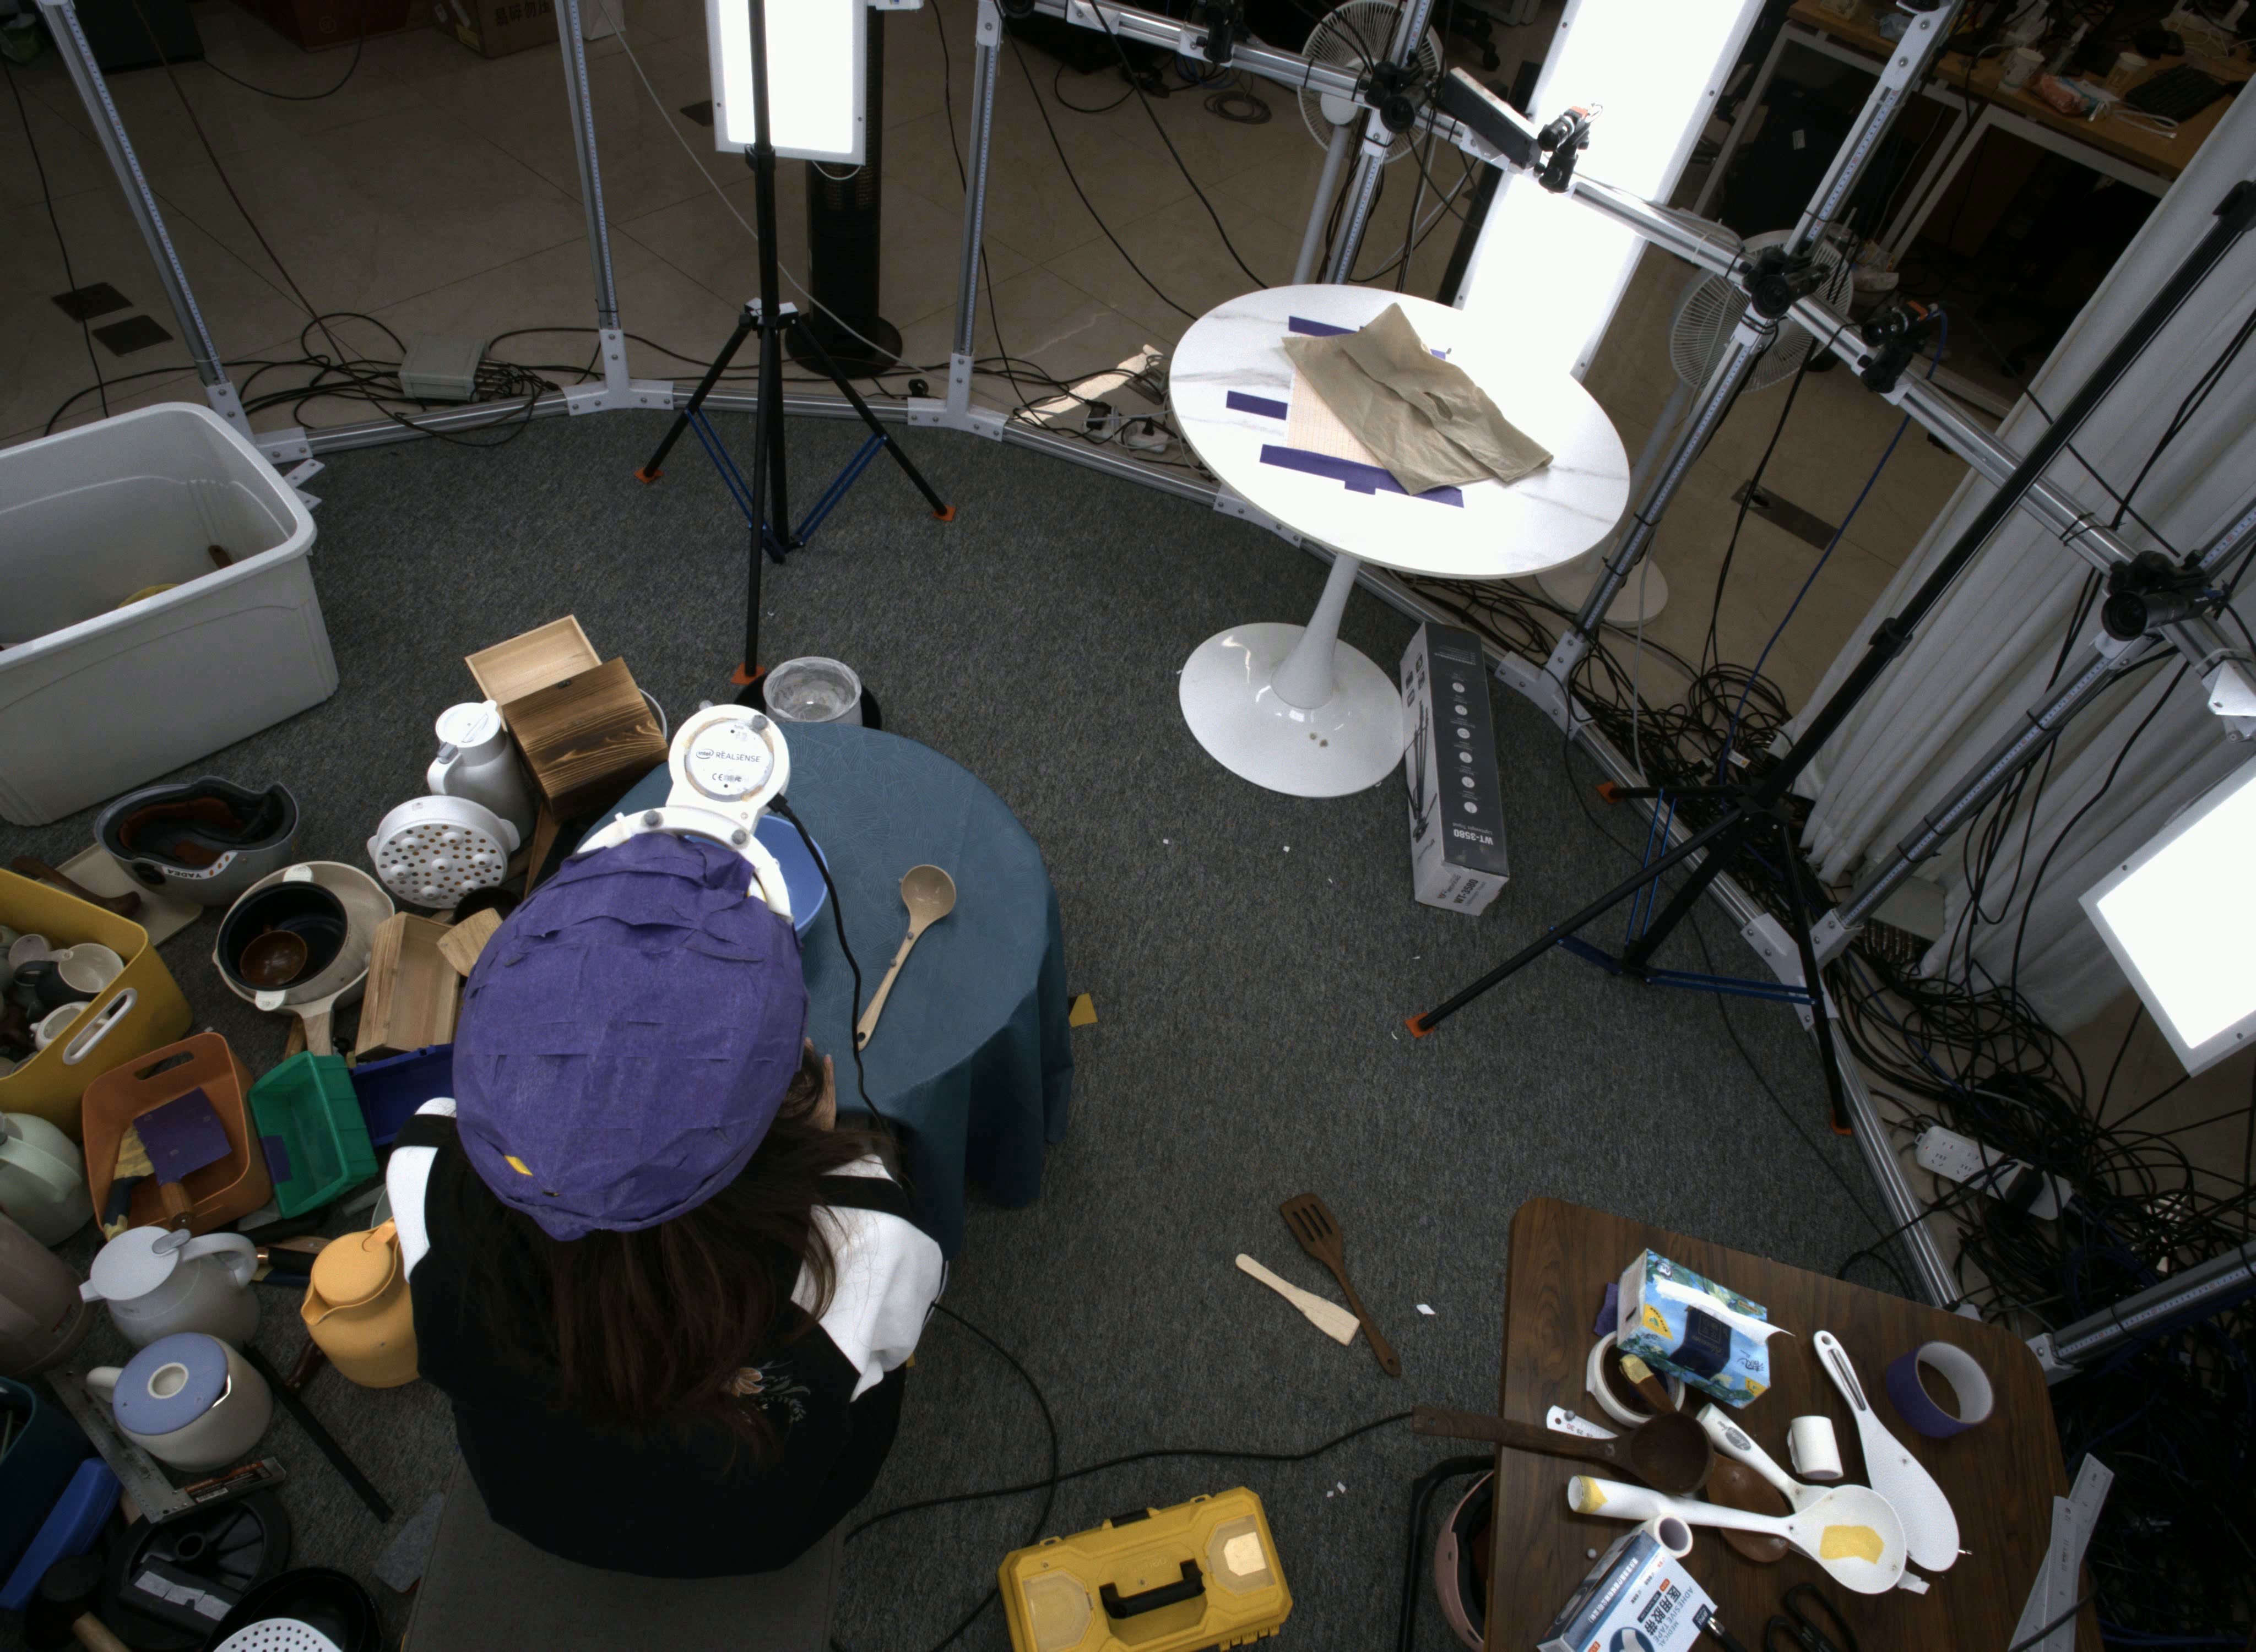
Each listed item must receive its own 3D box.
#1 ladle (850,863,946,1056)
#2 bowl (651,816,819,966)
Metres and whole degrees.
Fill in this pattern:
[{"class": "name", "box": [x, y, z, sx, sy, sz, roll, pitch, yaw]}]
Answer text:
[{"class": "ladle", "box": [-0.290, 0.154, 1.592, 0.071, 0.074, 0.251, 17, 52, 1]}, {"class": "bowl", "box": [-0.477, 0.093, 1.578, 0.196, 0.097, 0.193, 9, 52, -10]}]
